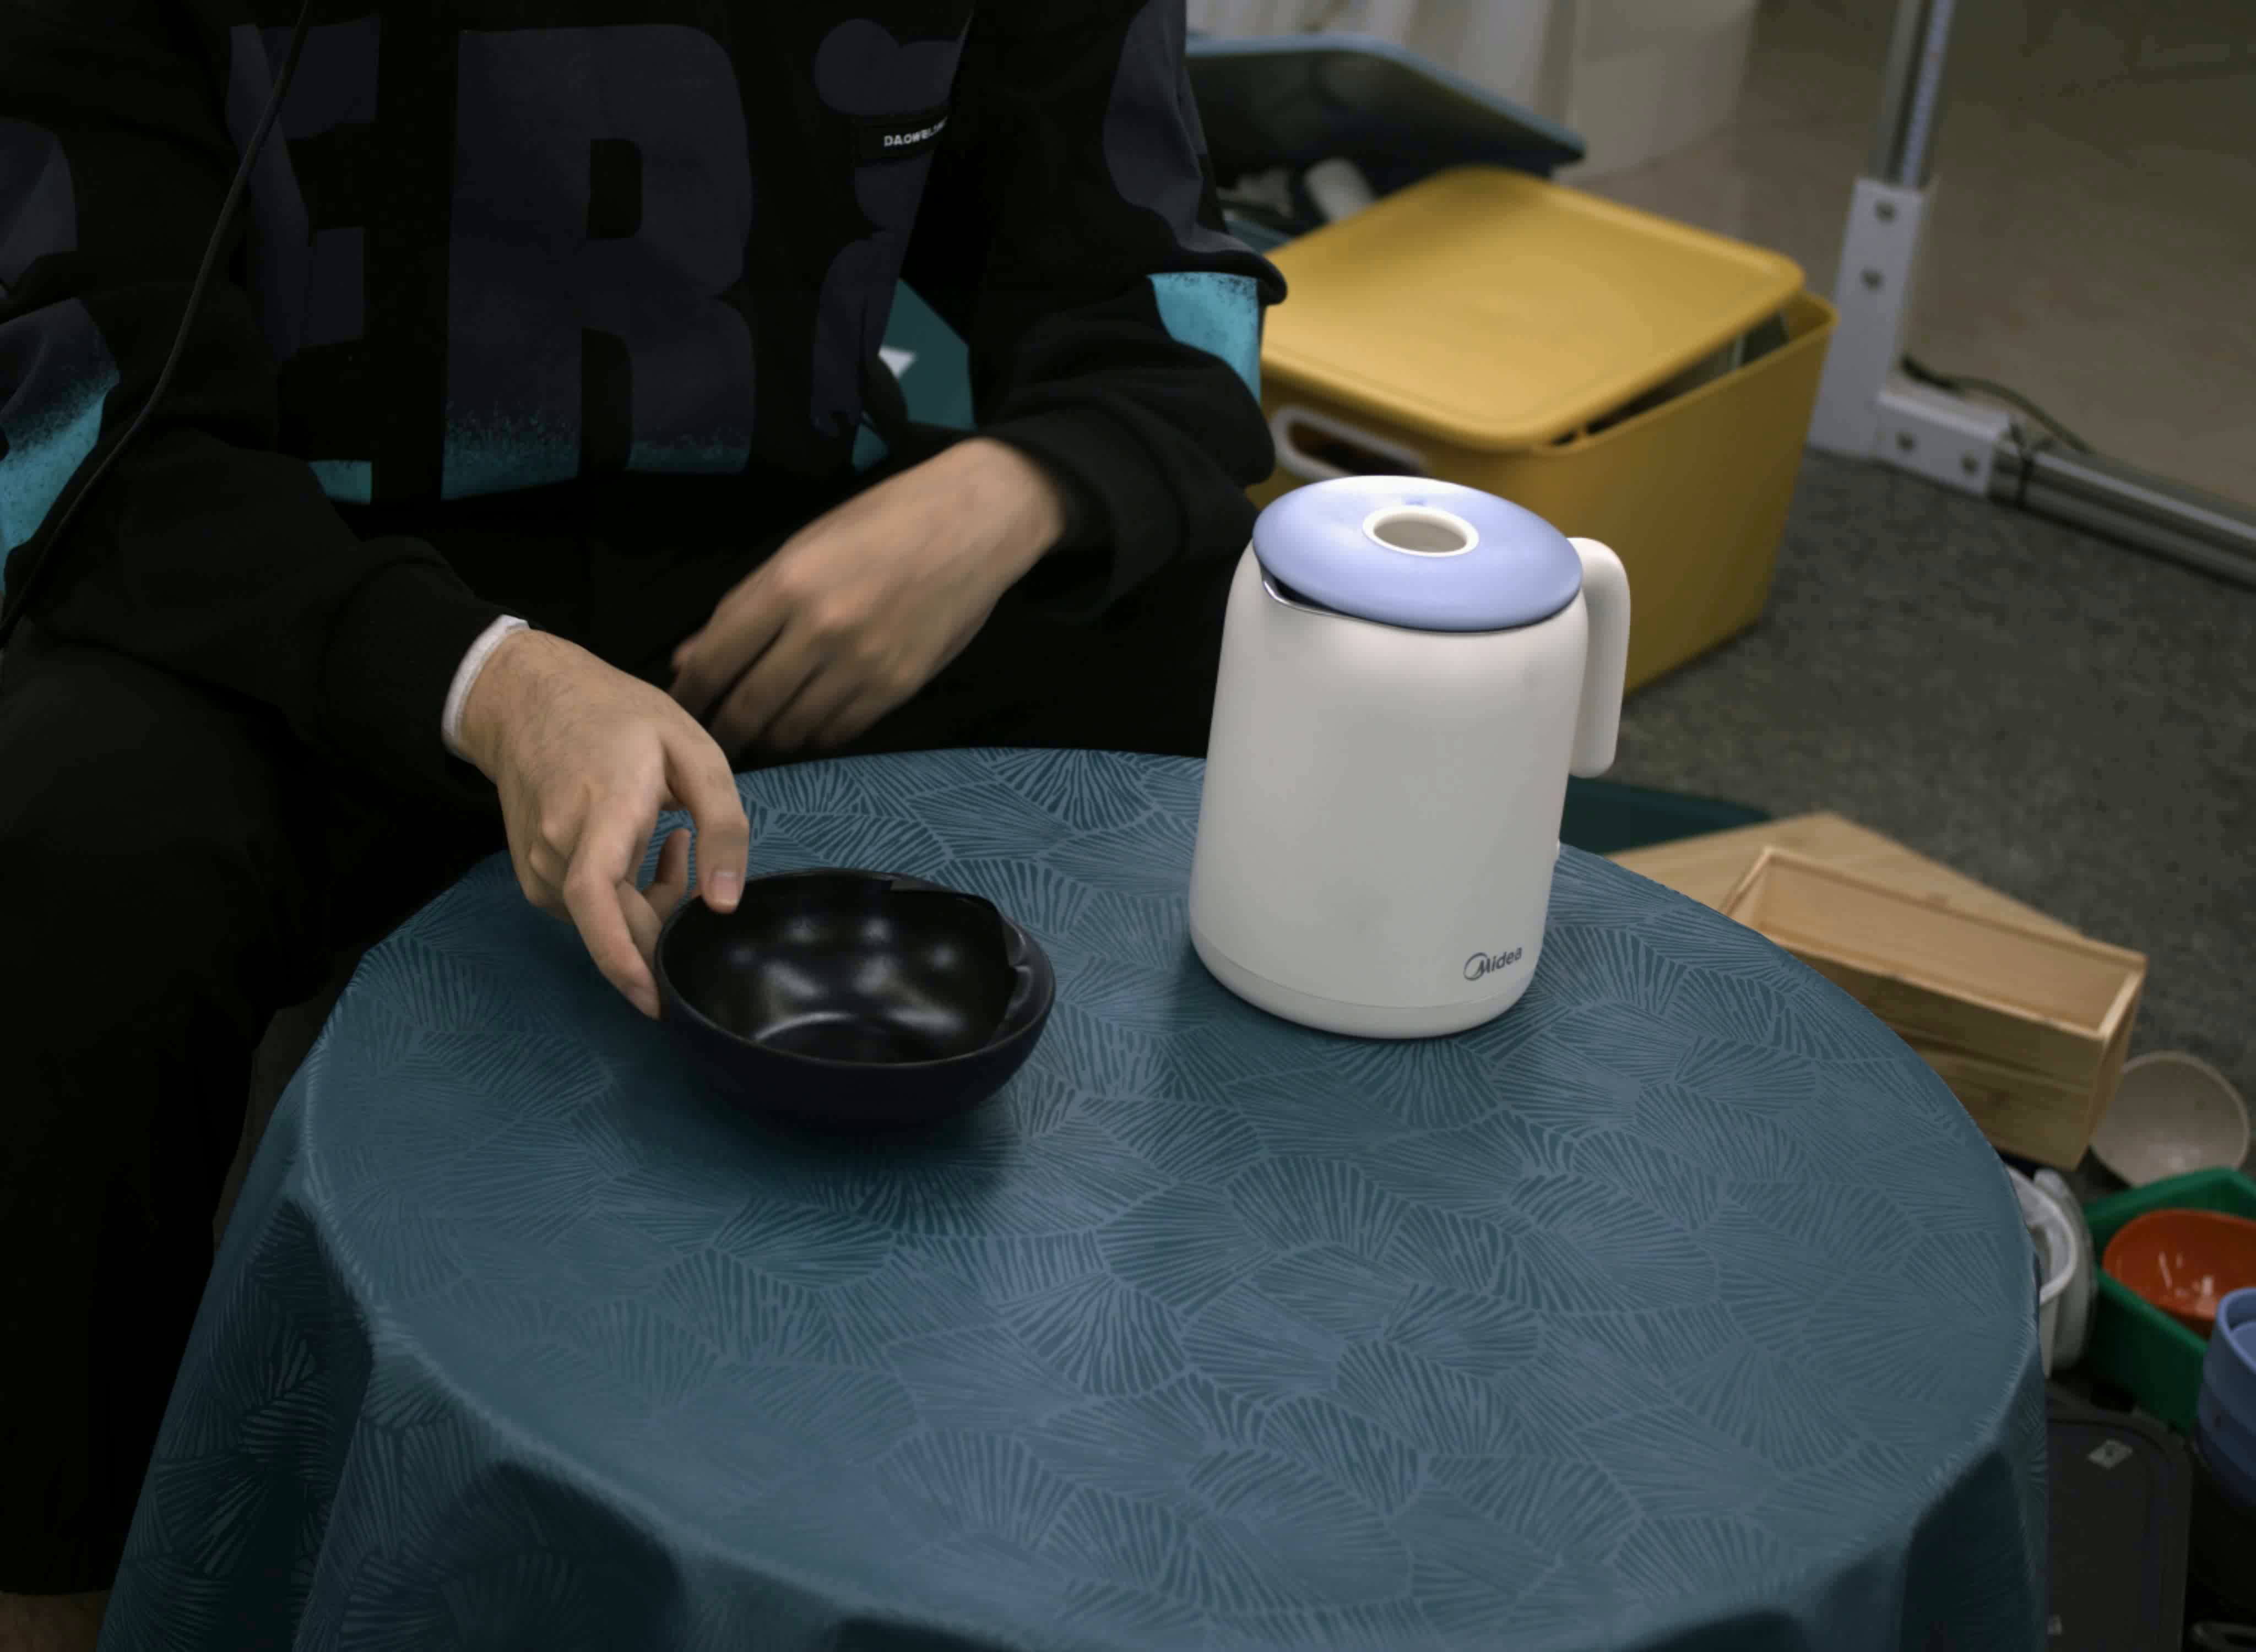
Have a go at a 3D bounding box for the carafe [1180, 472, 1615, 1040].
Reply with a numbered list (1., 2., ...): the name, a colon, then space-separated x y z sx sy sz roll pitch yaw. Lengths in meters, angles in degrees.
1. carafe: 0.110 -0.031 1.940 0.190 0.182 0.133 -16 35 -42

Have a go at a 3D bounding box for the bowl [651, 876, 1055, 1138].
1. bowl: -0.096 0.069 1.831 0.139 0.049 0.141 4 25 -2
